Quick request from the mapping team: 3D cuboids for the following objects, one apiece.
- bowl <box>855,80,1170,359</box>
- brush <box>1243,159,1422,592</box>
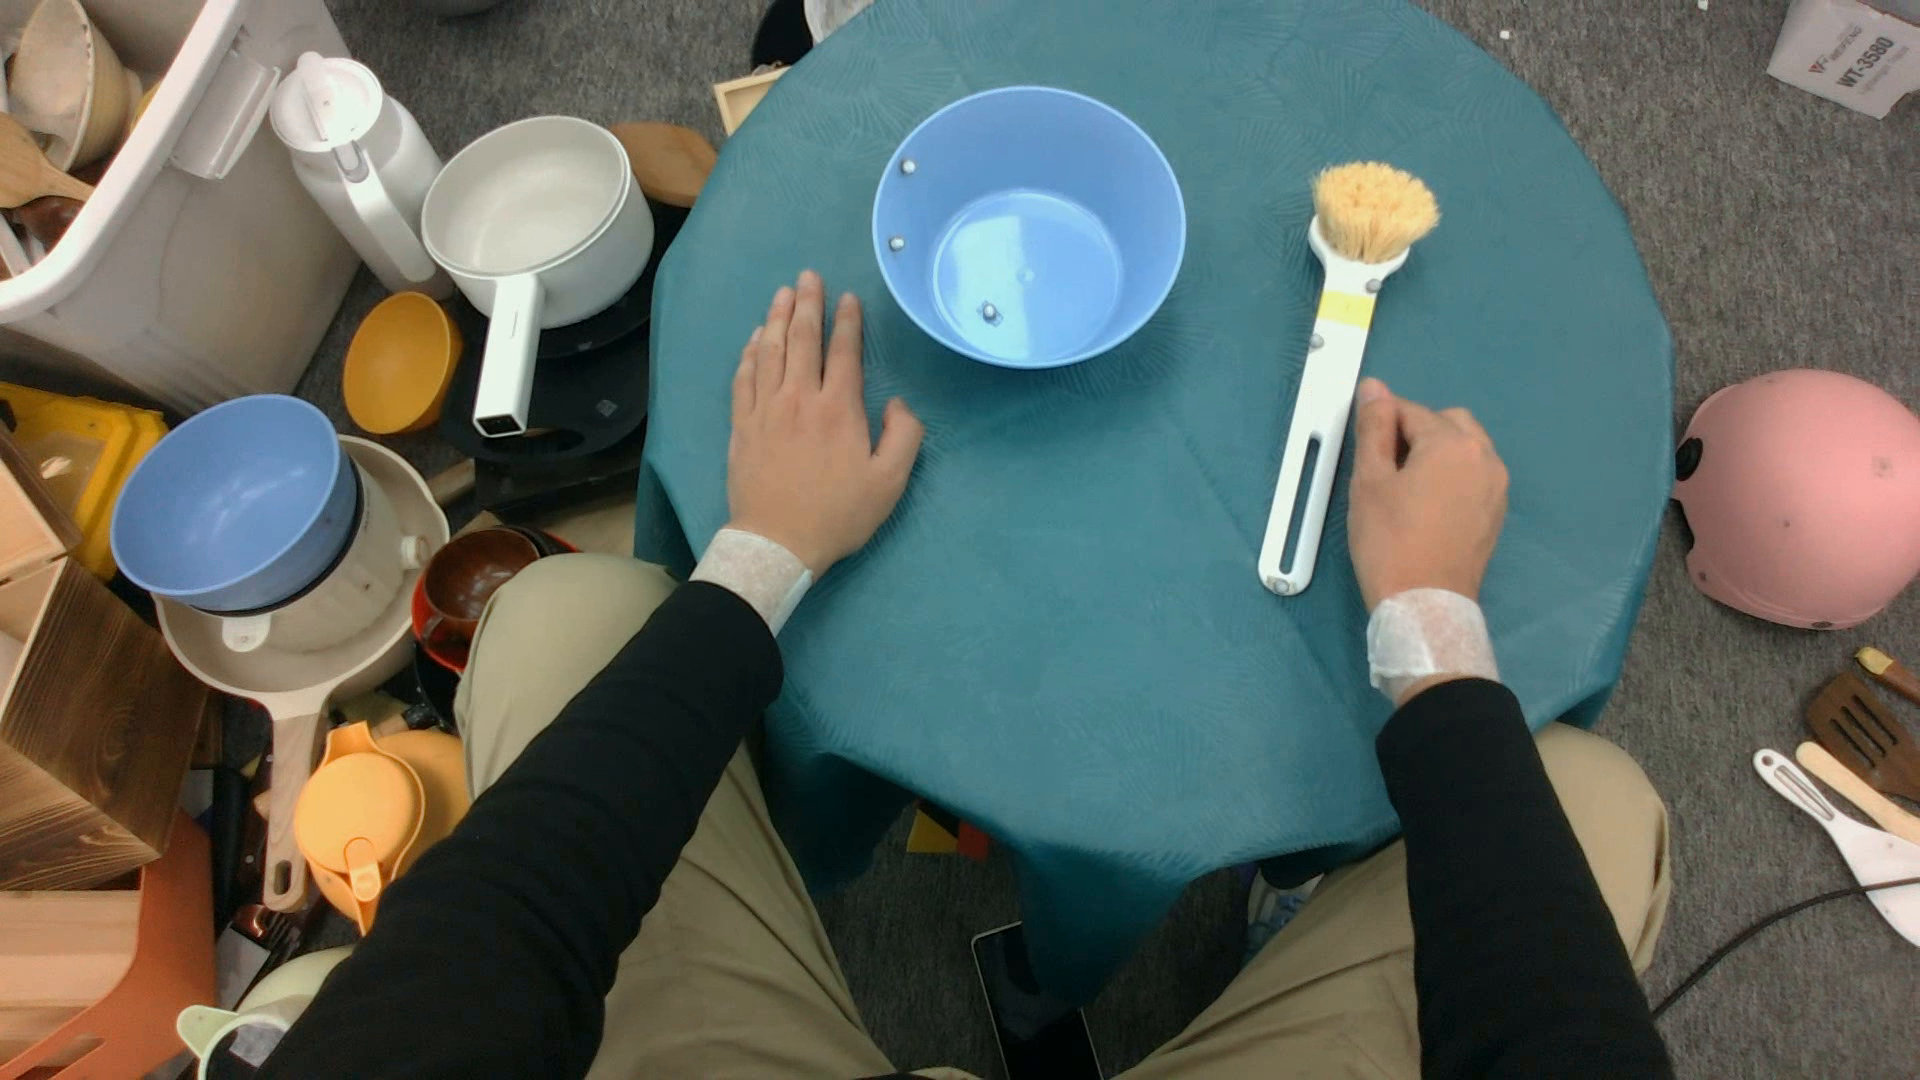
[{"bbox_3d":[0.029,-0.173,0.797,0.176,0.070,0.176,0,72,0],"label":"bowl"},{"bbox_3d":[0.207,-0.101,0.786,0.068,0.056,0.267,14,73,9],"label":"brush"}]
